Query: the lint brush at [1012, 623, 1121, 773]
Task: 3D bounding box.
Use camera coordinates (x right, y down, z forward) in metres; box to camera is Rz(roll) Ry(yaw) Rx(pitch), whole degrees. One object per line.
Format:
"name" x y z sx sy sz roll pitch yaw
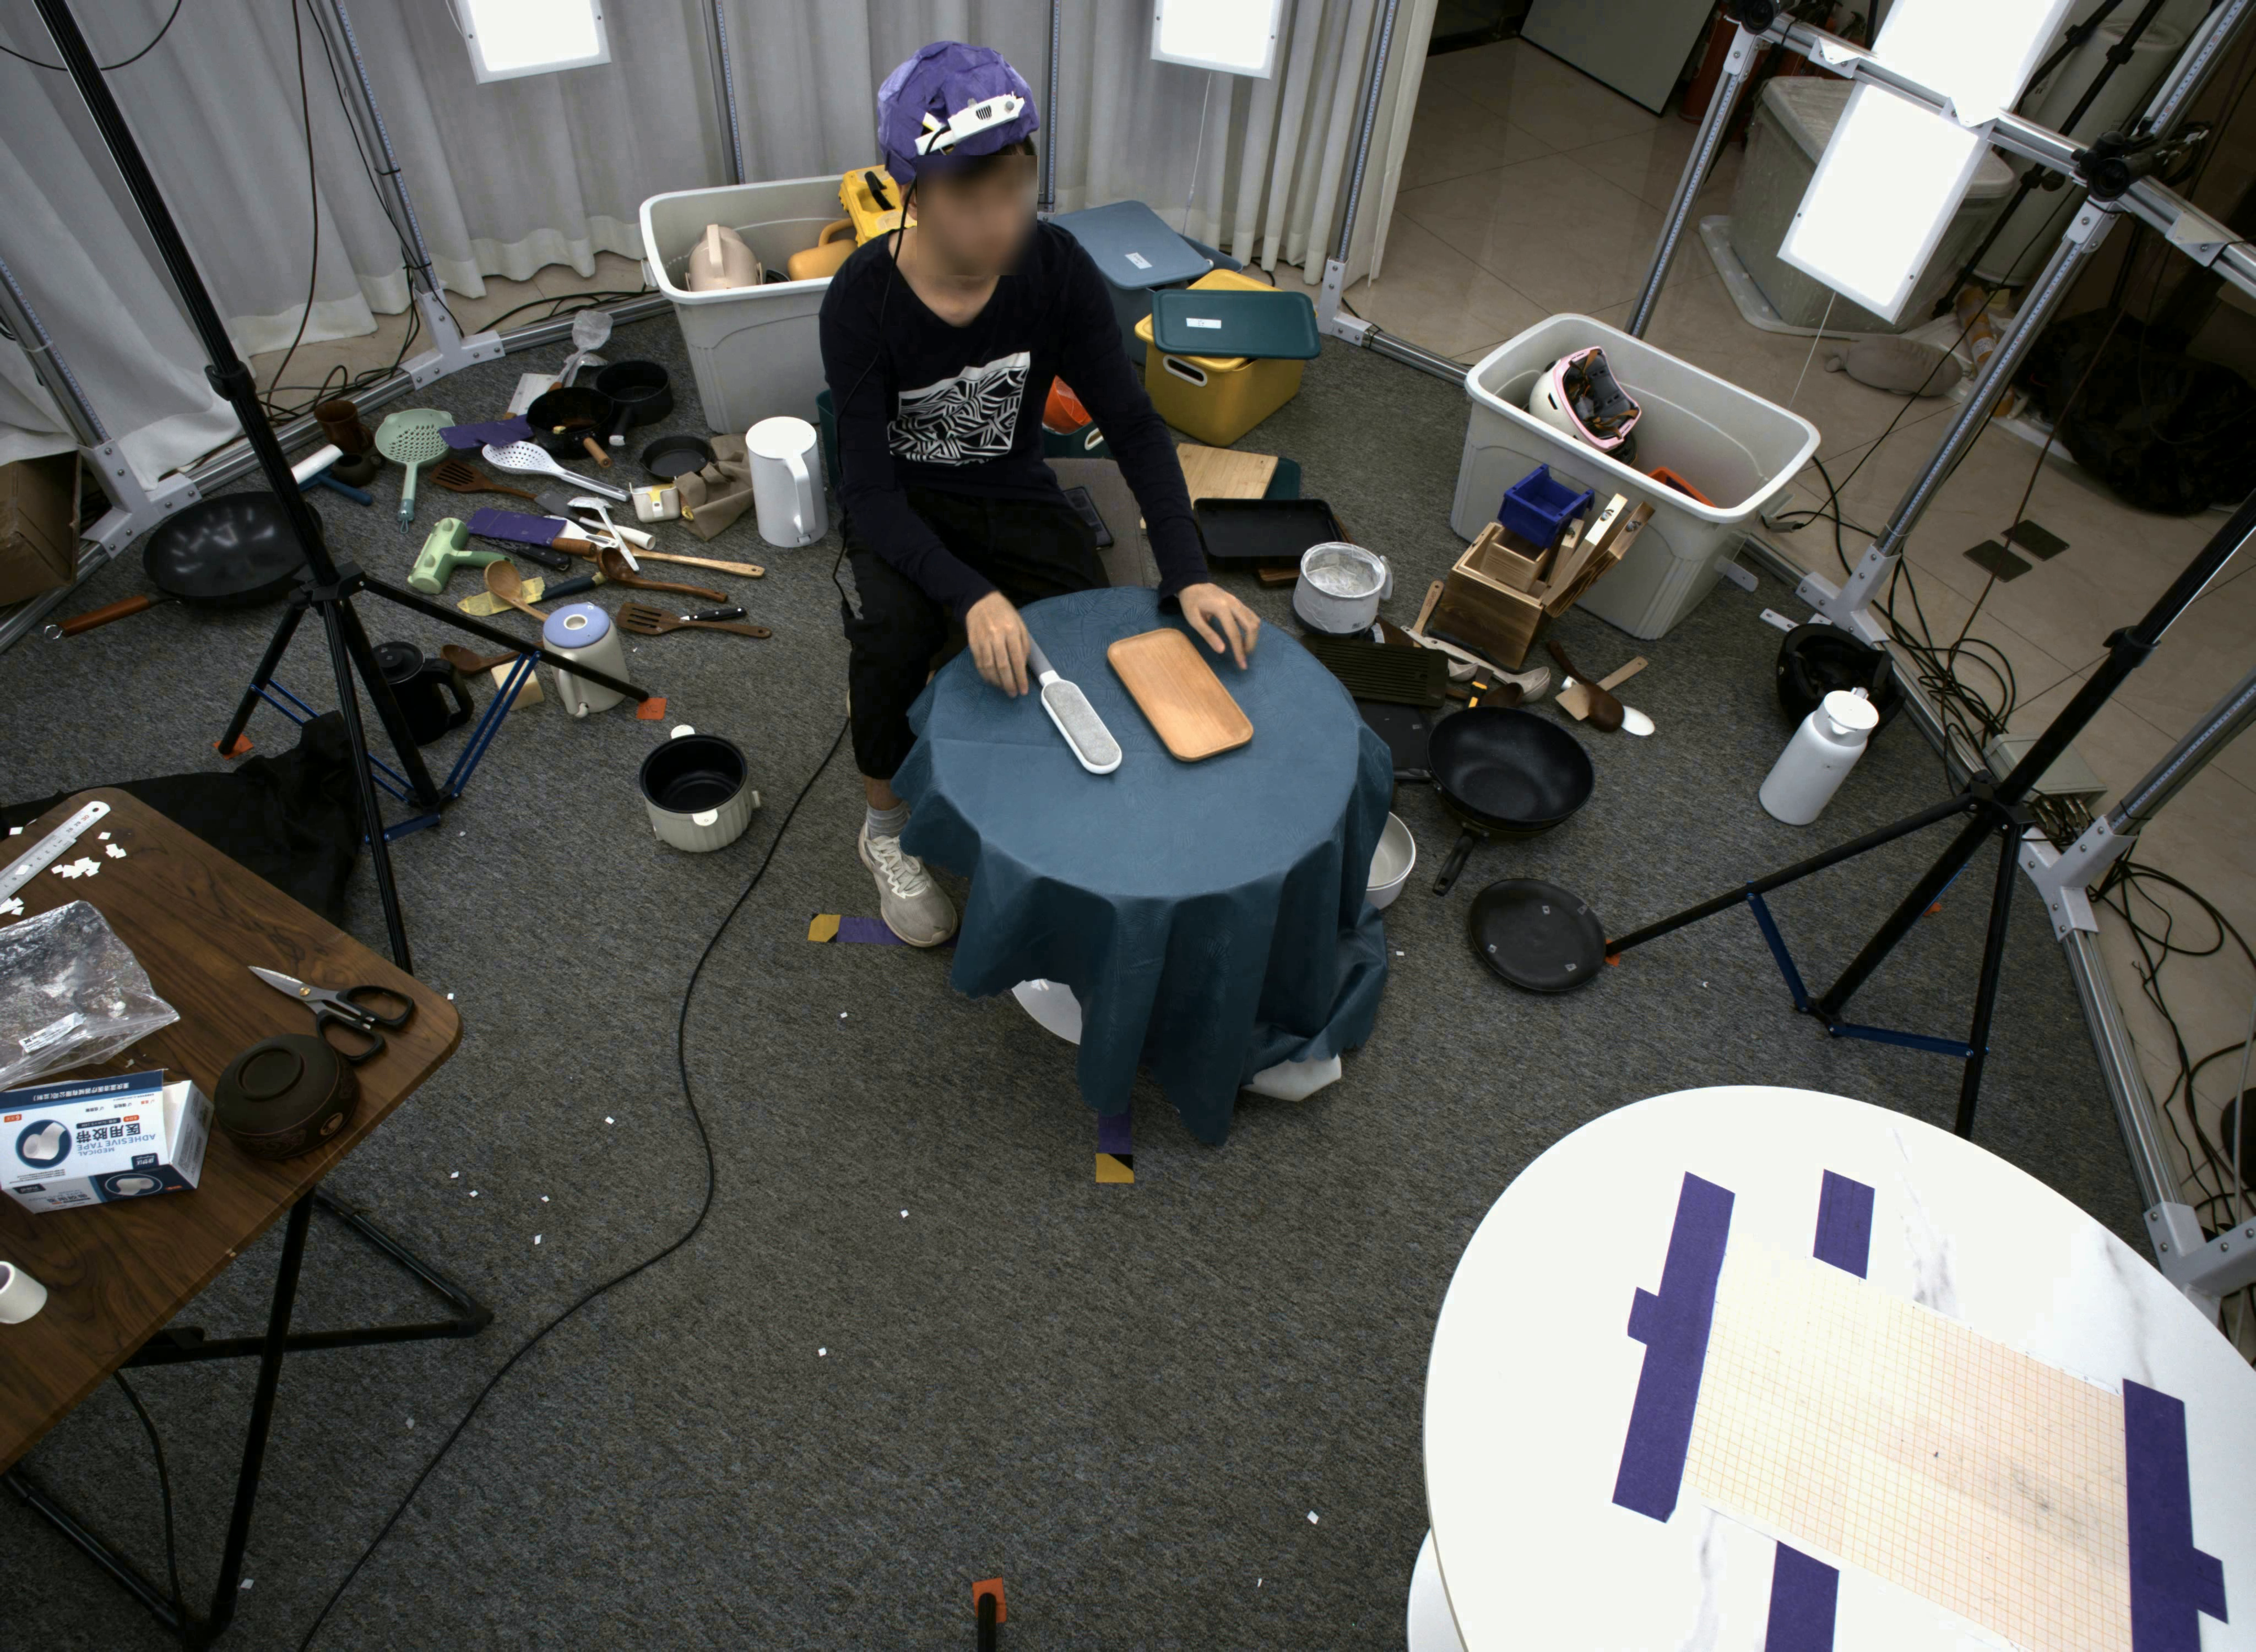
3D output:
"lint brush" -0.093 -0.186 1.804 0.060 0.020 0.316 -22 54 -15

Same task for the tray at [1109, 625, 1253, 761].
"tray" 0.073 -0.192 1.828 0.130 0.022 0.256 -15 51 -19
